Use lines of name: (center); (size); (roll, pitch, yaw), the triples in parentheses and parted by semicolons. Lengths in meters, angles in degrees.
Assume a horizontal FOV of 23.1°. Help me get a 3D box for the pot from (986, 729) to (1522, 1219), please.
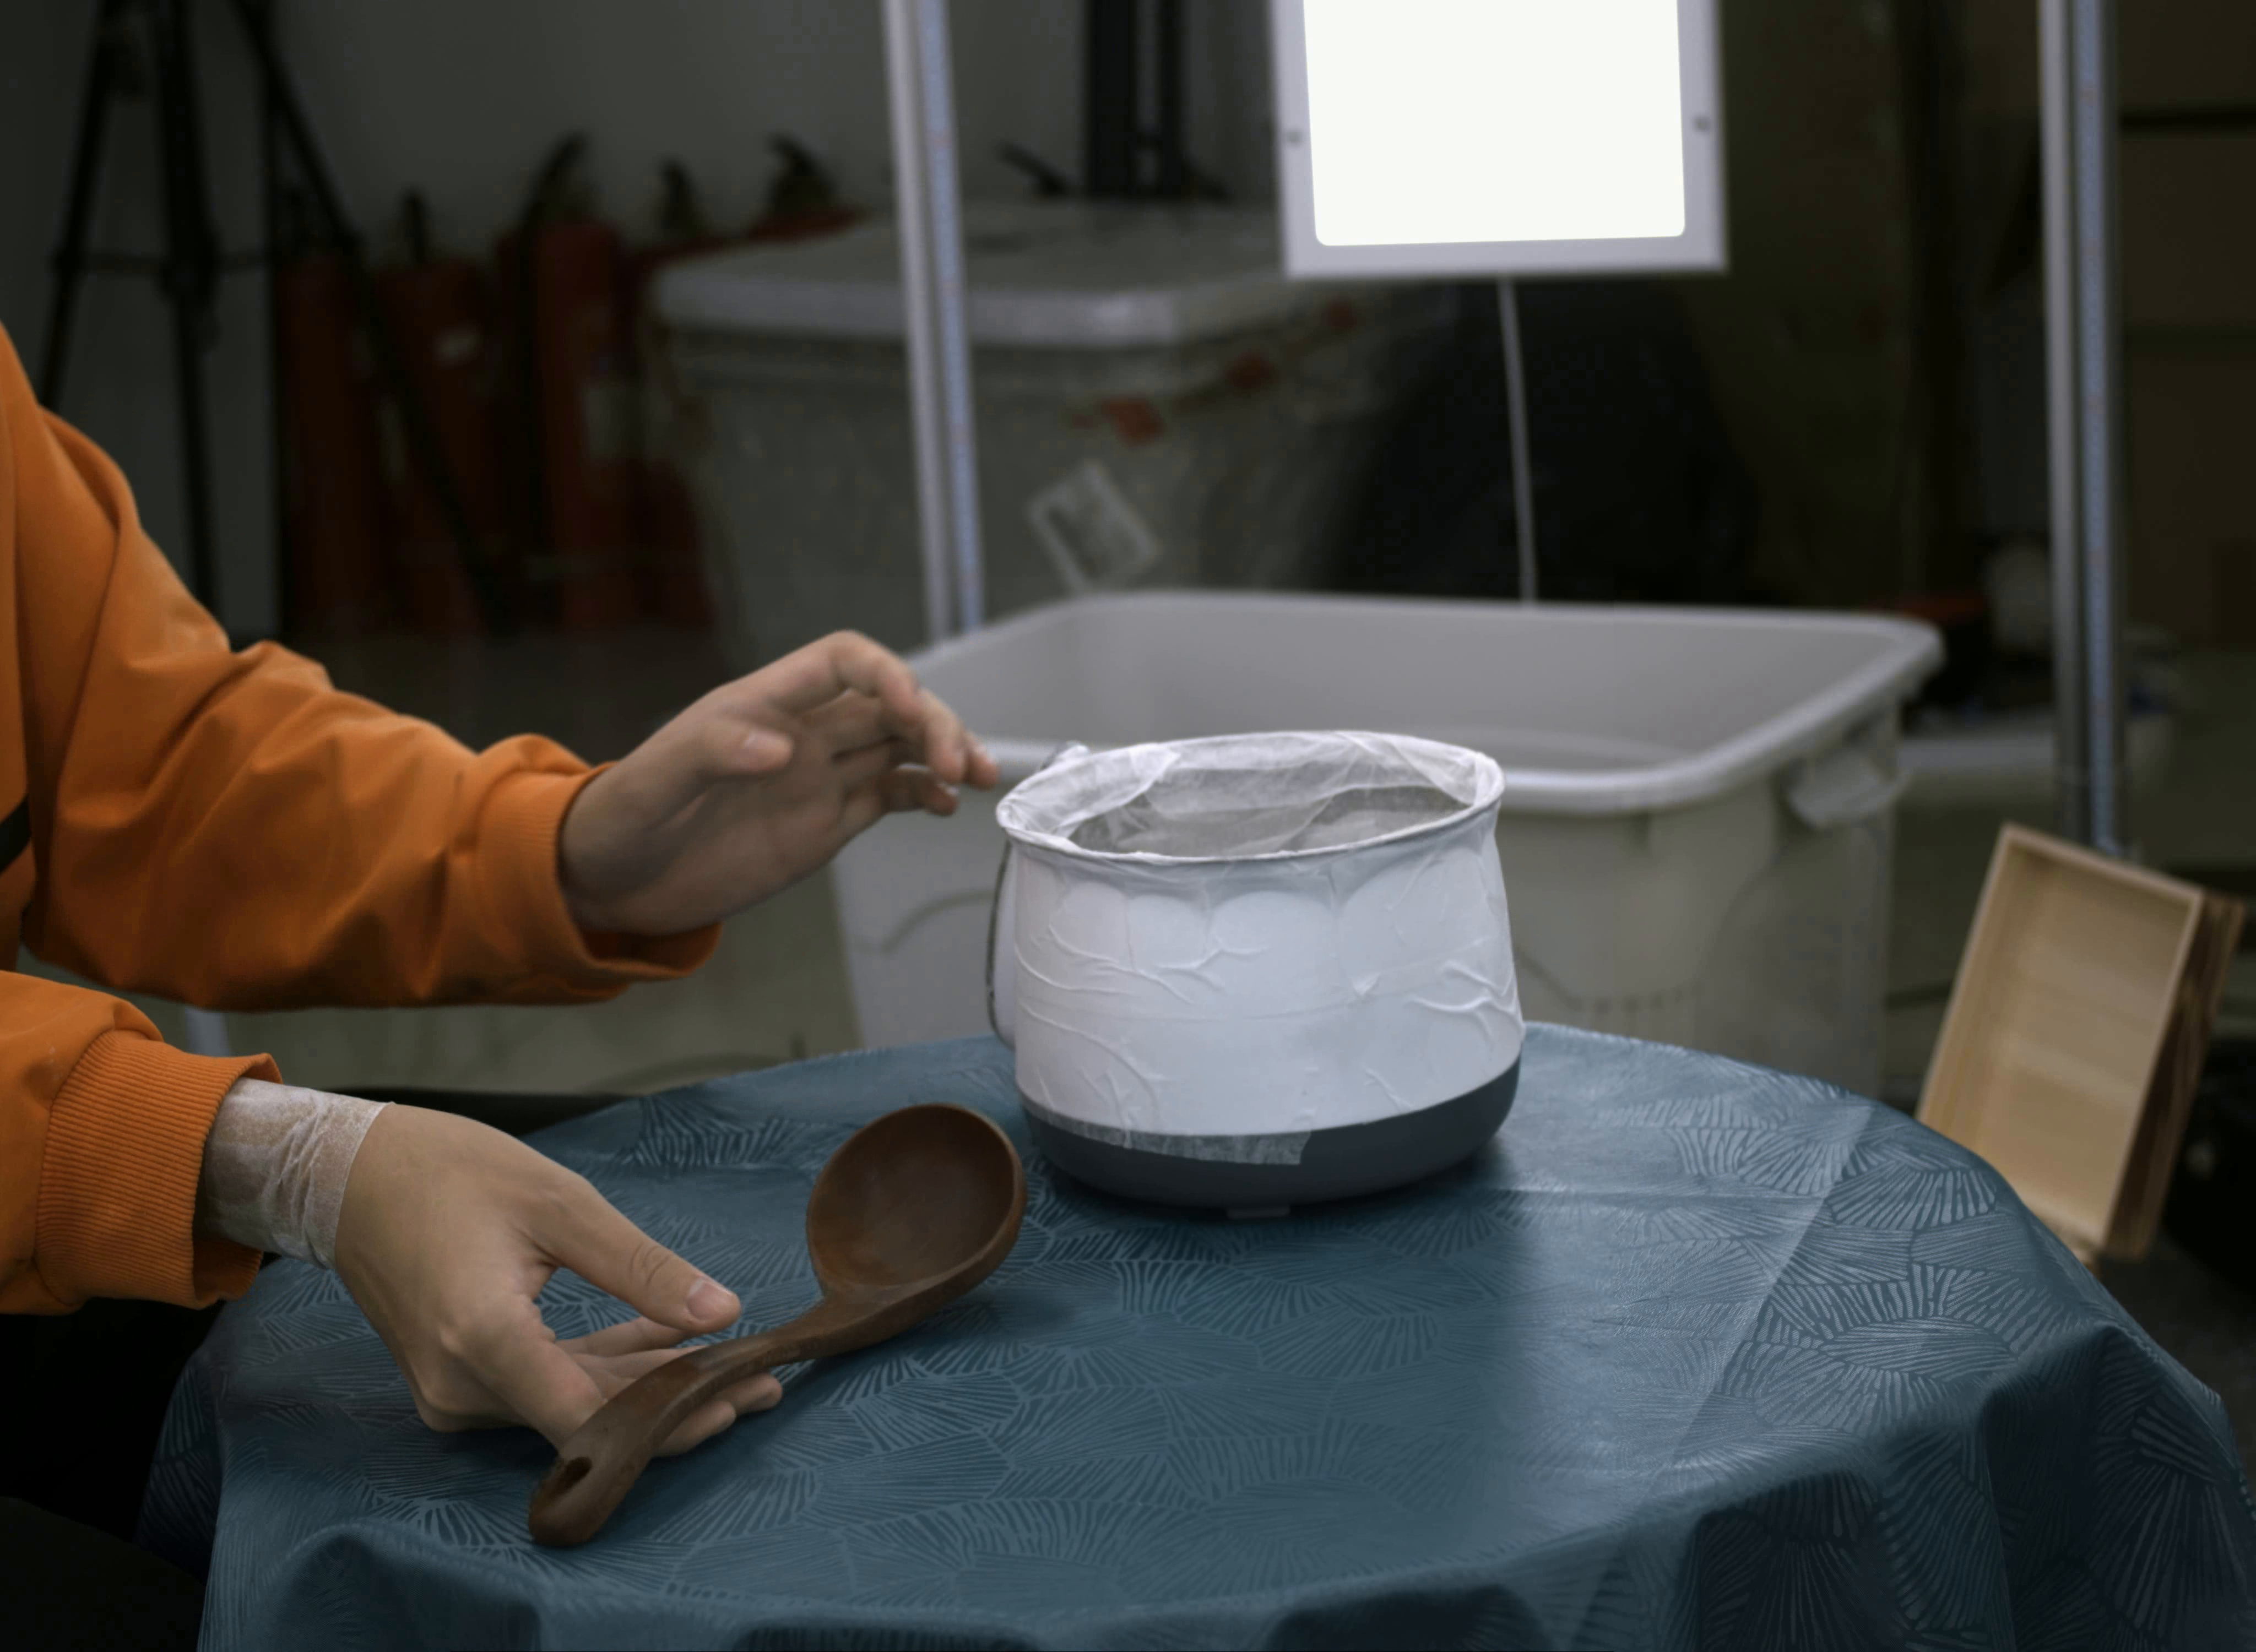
pot: (0.029, 0.046, 1.927); (0.174, 0.137, 0.238); (-15, 17, -37)

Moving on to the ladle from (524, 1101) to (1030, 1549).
ladle: (-0.113, 0.150, 1.709); (0.078, 0.065, 0.254); (-2, 13, 30)
